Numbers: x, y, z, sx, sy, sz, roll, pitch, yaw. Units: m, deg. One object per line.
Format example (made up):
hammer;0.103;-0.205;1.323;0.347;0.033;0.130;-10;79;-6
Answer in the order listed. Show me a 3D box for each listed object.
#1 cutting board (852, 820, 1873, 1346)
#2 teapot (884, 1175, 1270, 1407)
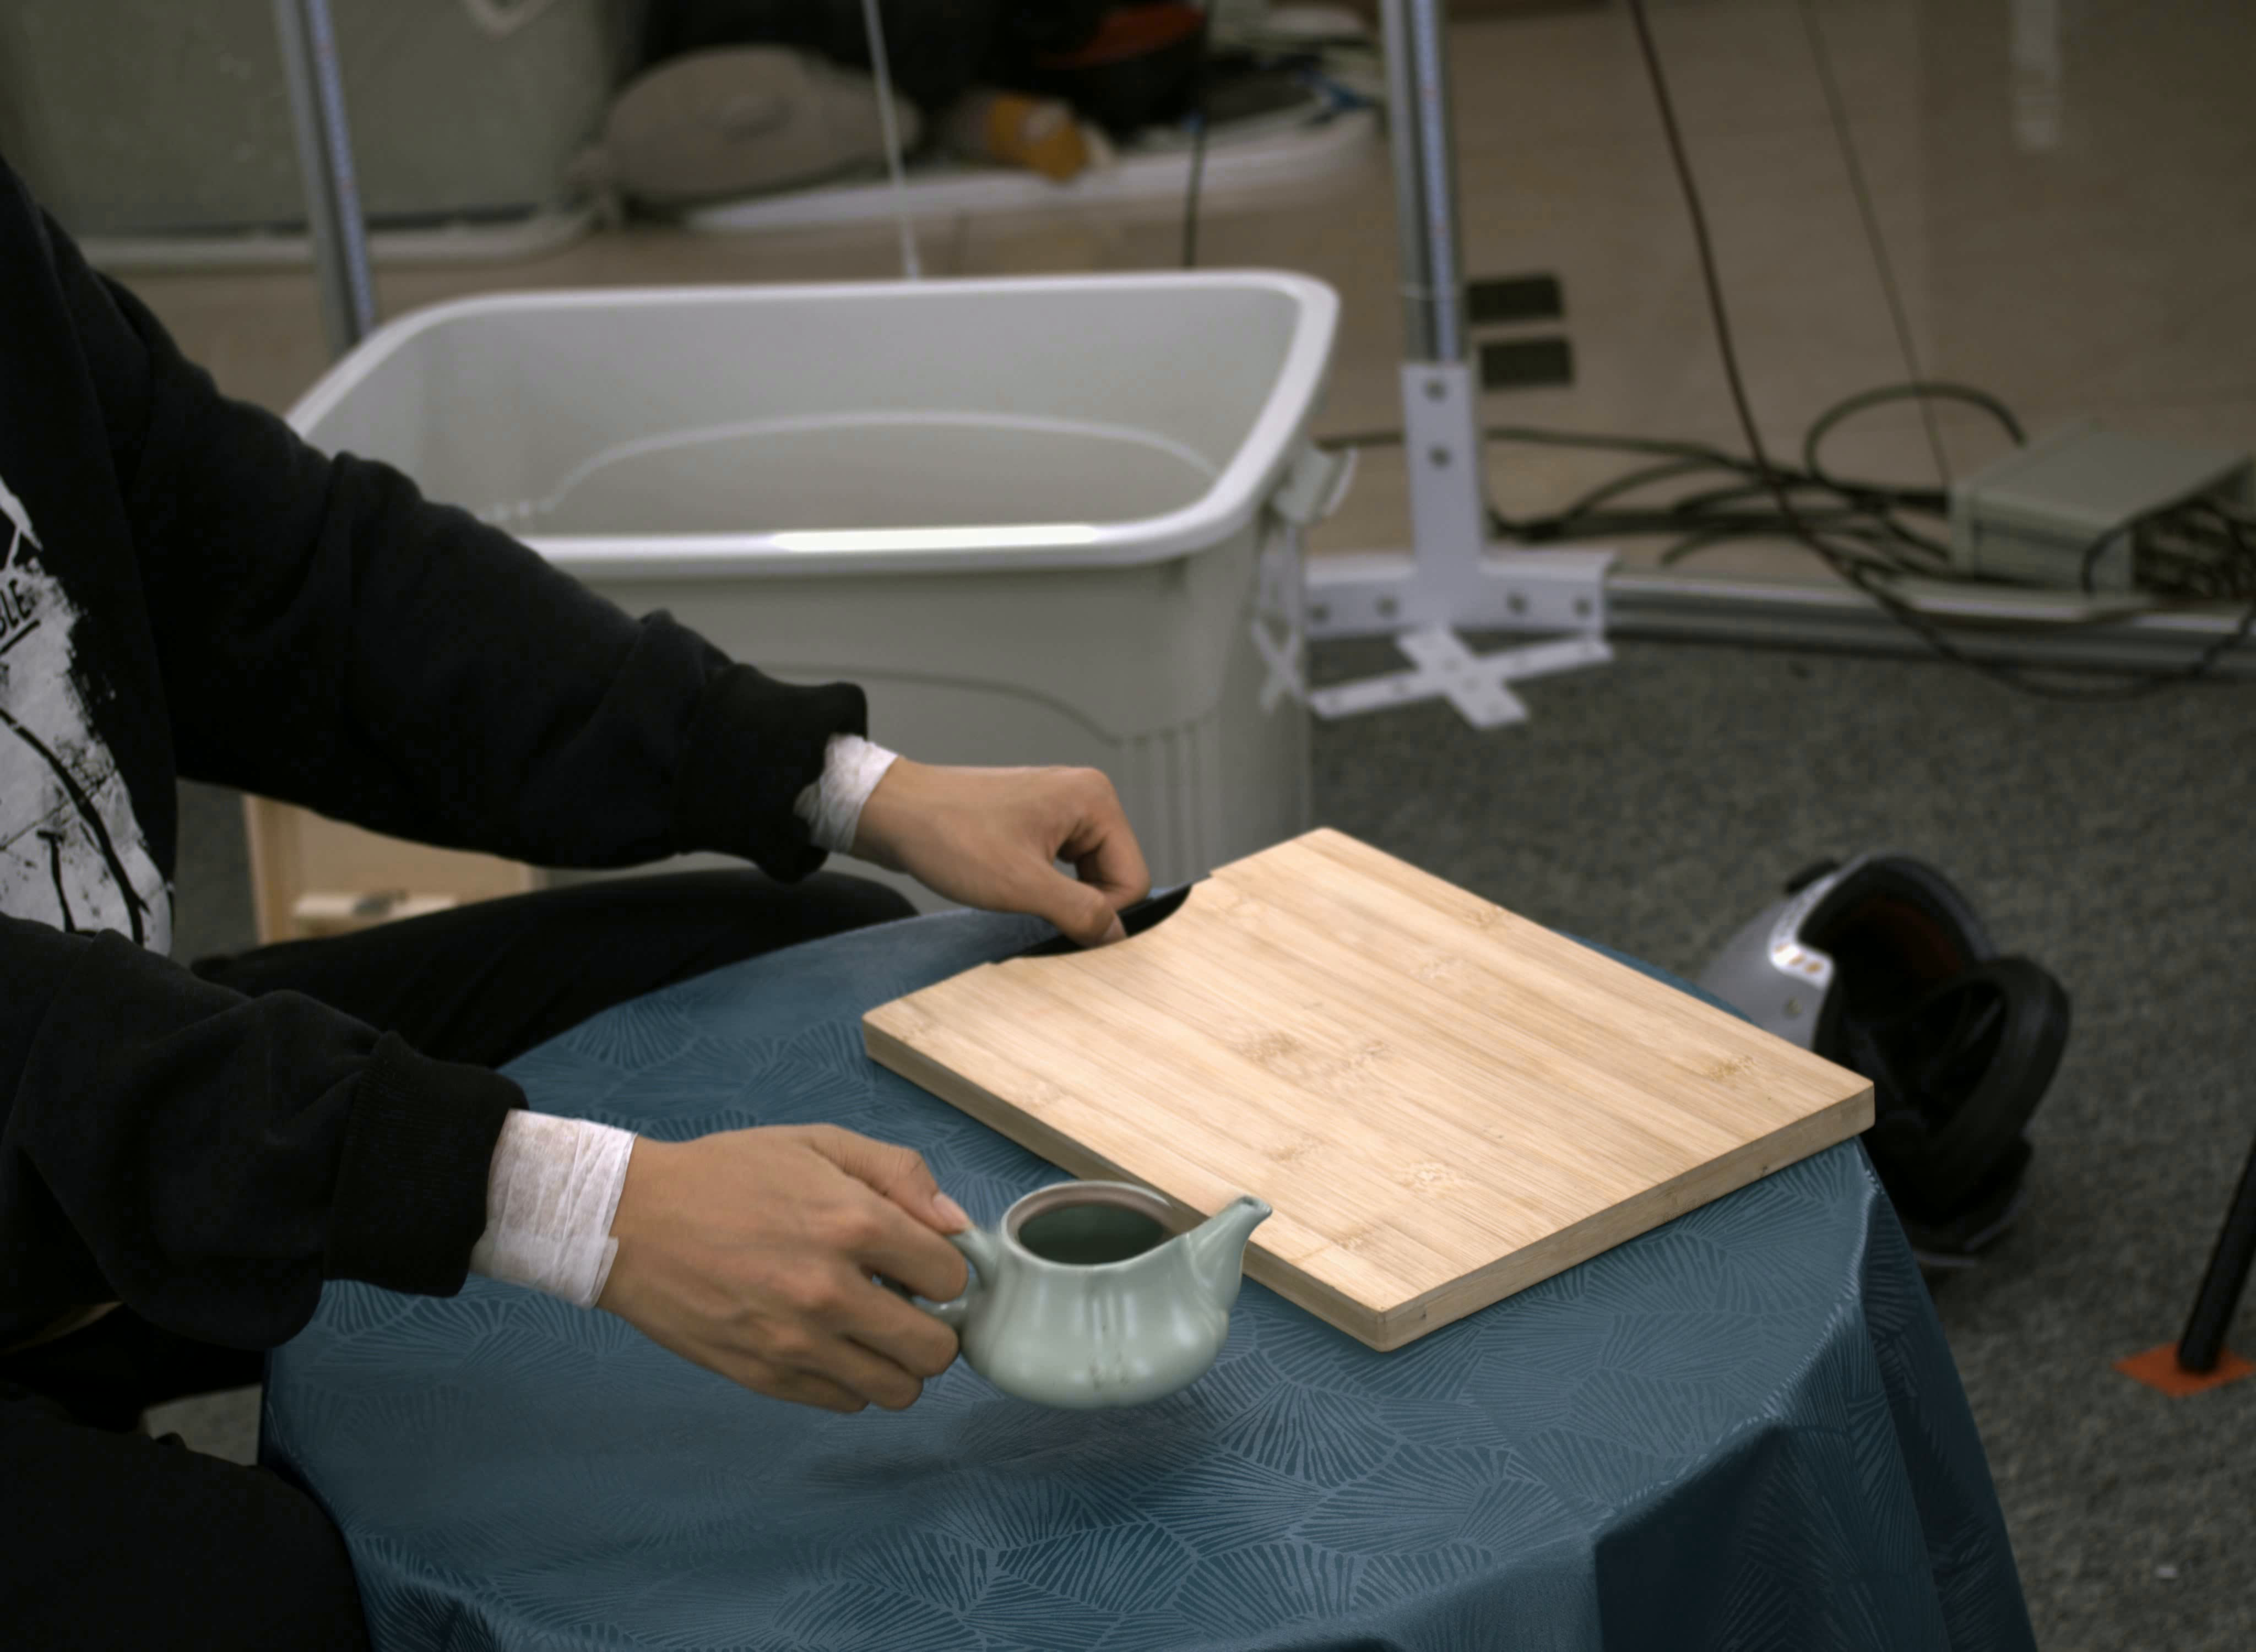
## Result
cutting board;0.085;0.093;2.207;0.249;0.024;0.345;-22;29;-31
teapot;-0.017;0.160;1.972;0.136;0.062;0.095;-5;28;-11
